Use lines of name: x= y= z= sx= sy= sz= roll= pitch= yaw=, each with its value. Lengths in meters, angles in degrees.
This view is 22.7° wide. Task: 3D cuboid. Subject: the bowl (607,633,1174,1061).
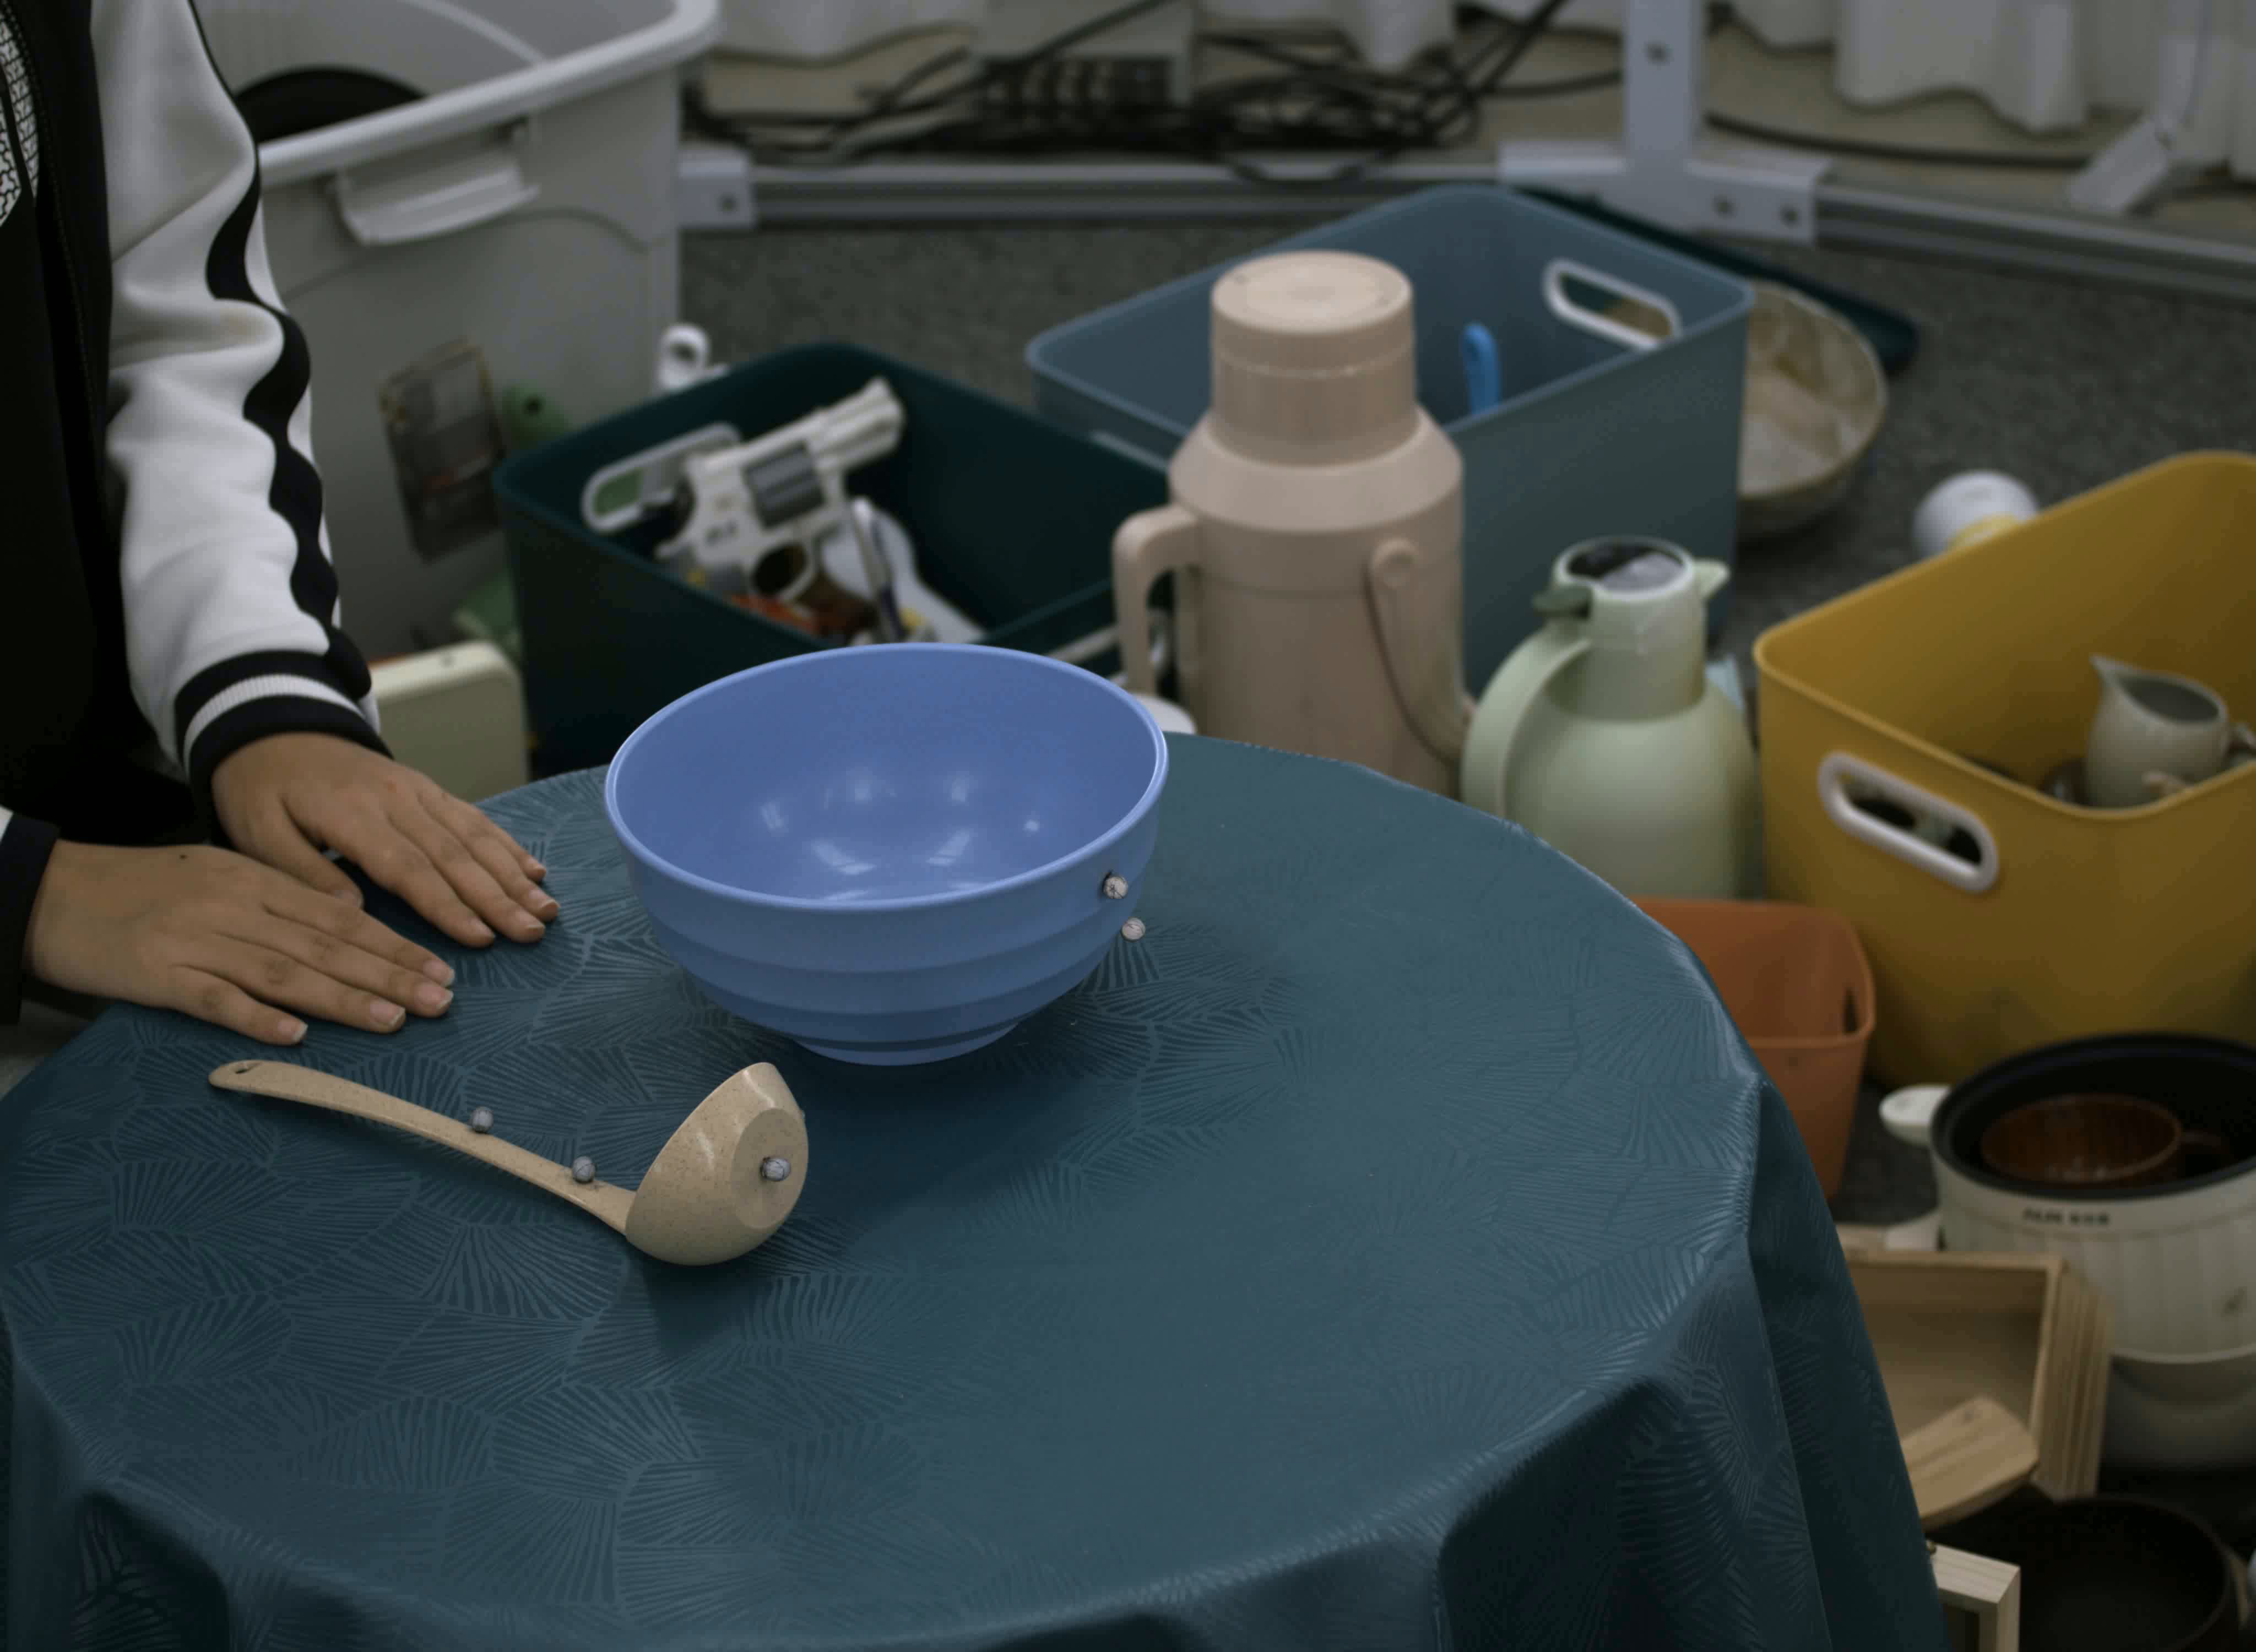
bowl: x=-0.082 y=0.019 z=1.962 sx=0.195 sy=0.094 sz=0.199 roll=1 pitch=28 yaw=0

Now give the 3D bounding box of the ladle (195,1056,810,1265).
ladle: x=-0.218 y=0.086 z=1.873 sx=0.253 sy=0.072 sz=0.073 roll=14 pitch=31 yaw=30
